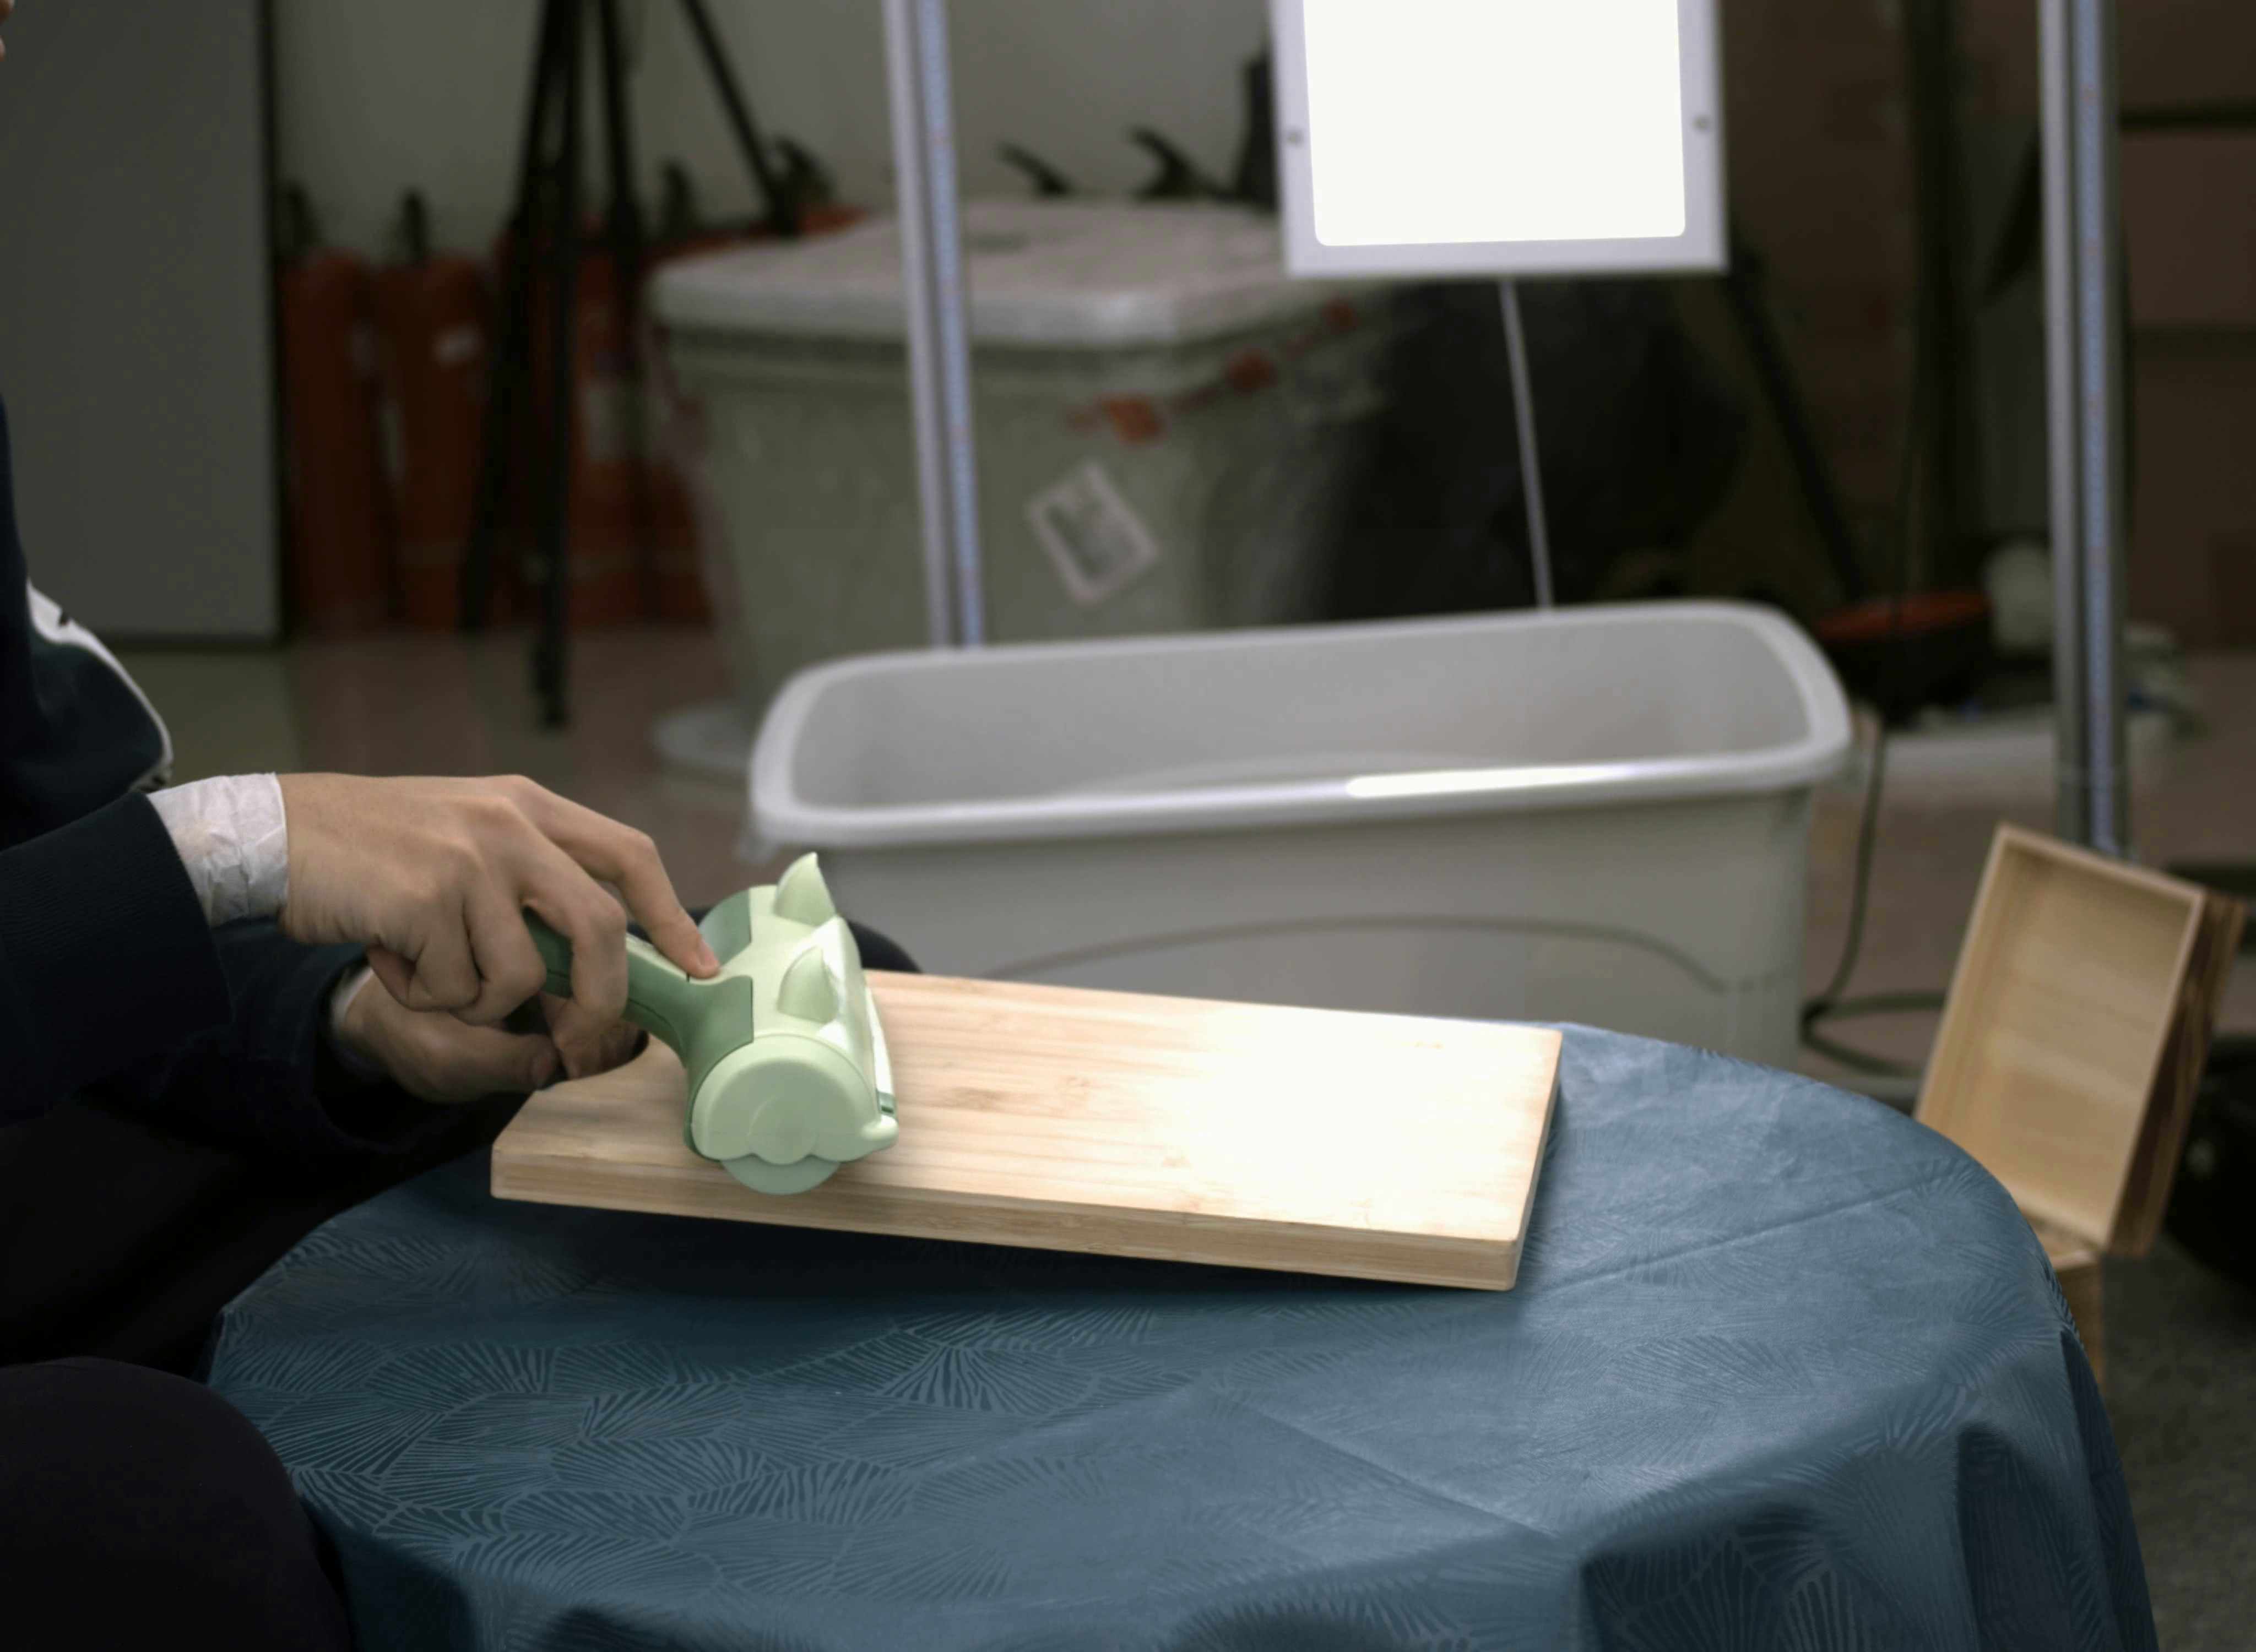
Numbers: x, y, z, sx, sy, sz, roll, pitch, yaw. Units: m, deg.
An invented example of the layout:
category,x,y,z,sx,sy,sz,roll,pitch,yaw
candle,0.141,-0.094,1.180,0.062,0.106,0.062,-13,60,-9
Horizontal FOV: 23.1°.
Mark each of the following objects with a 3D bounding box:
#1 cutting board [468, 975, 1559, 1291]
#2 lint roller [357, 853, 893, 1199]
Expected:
category,x,y,z,sx,sy,sz,roll,pitch,yaw
cutting board,-0.031,0.099,1.900,0.350,0.024,0.248,4,15,8
lint roller,-0.161,0.038,1.837,0.182,0.083,0.198,29,12,-9
